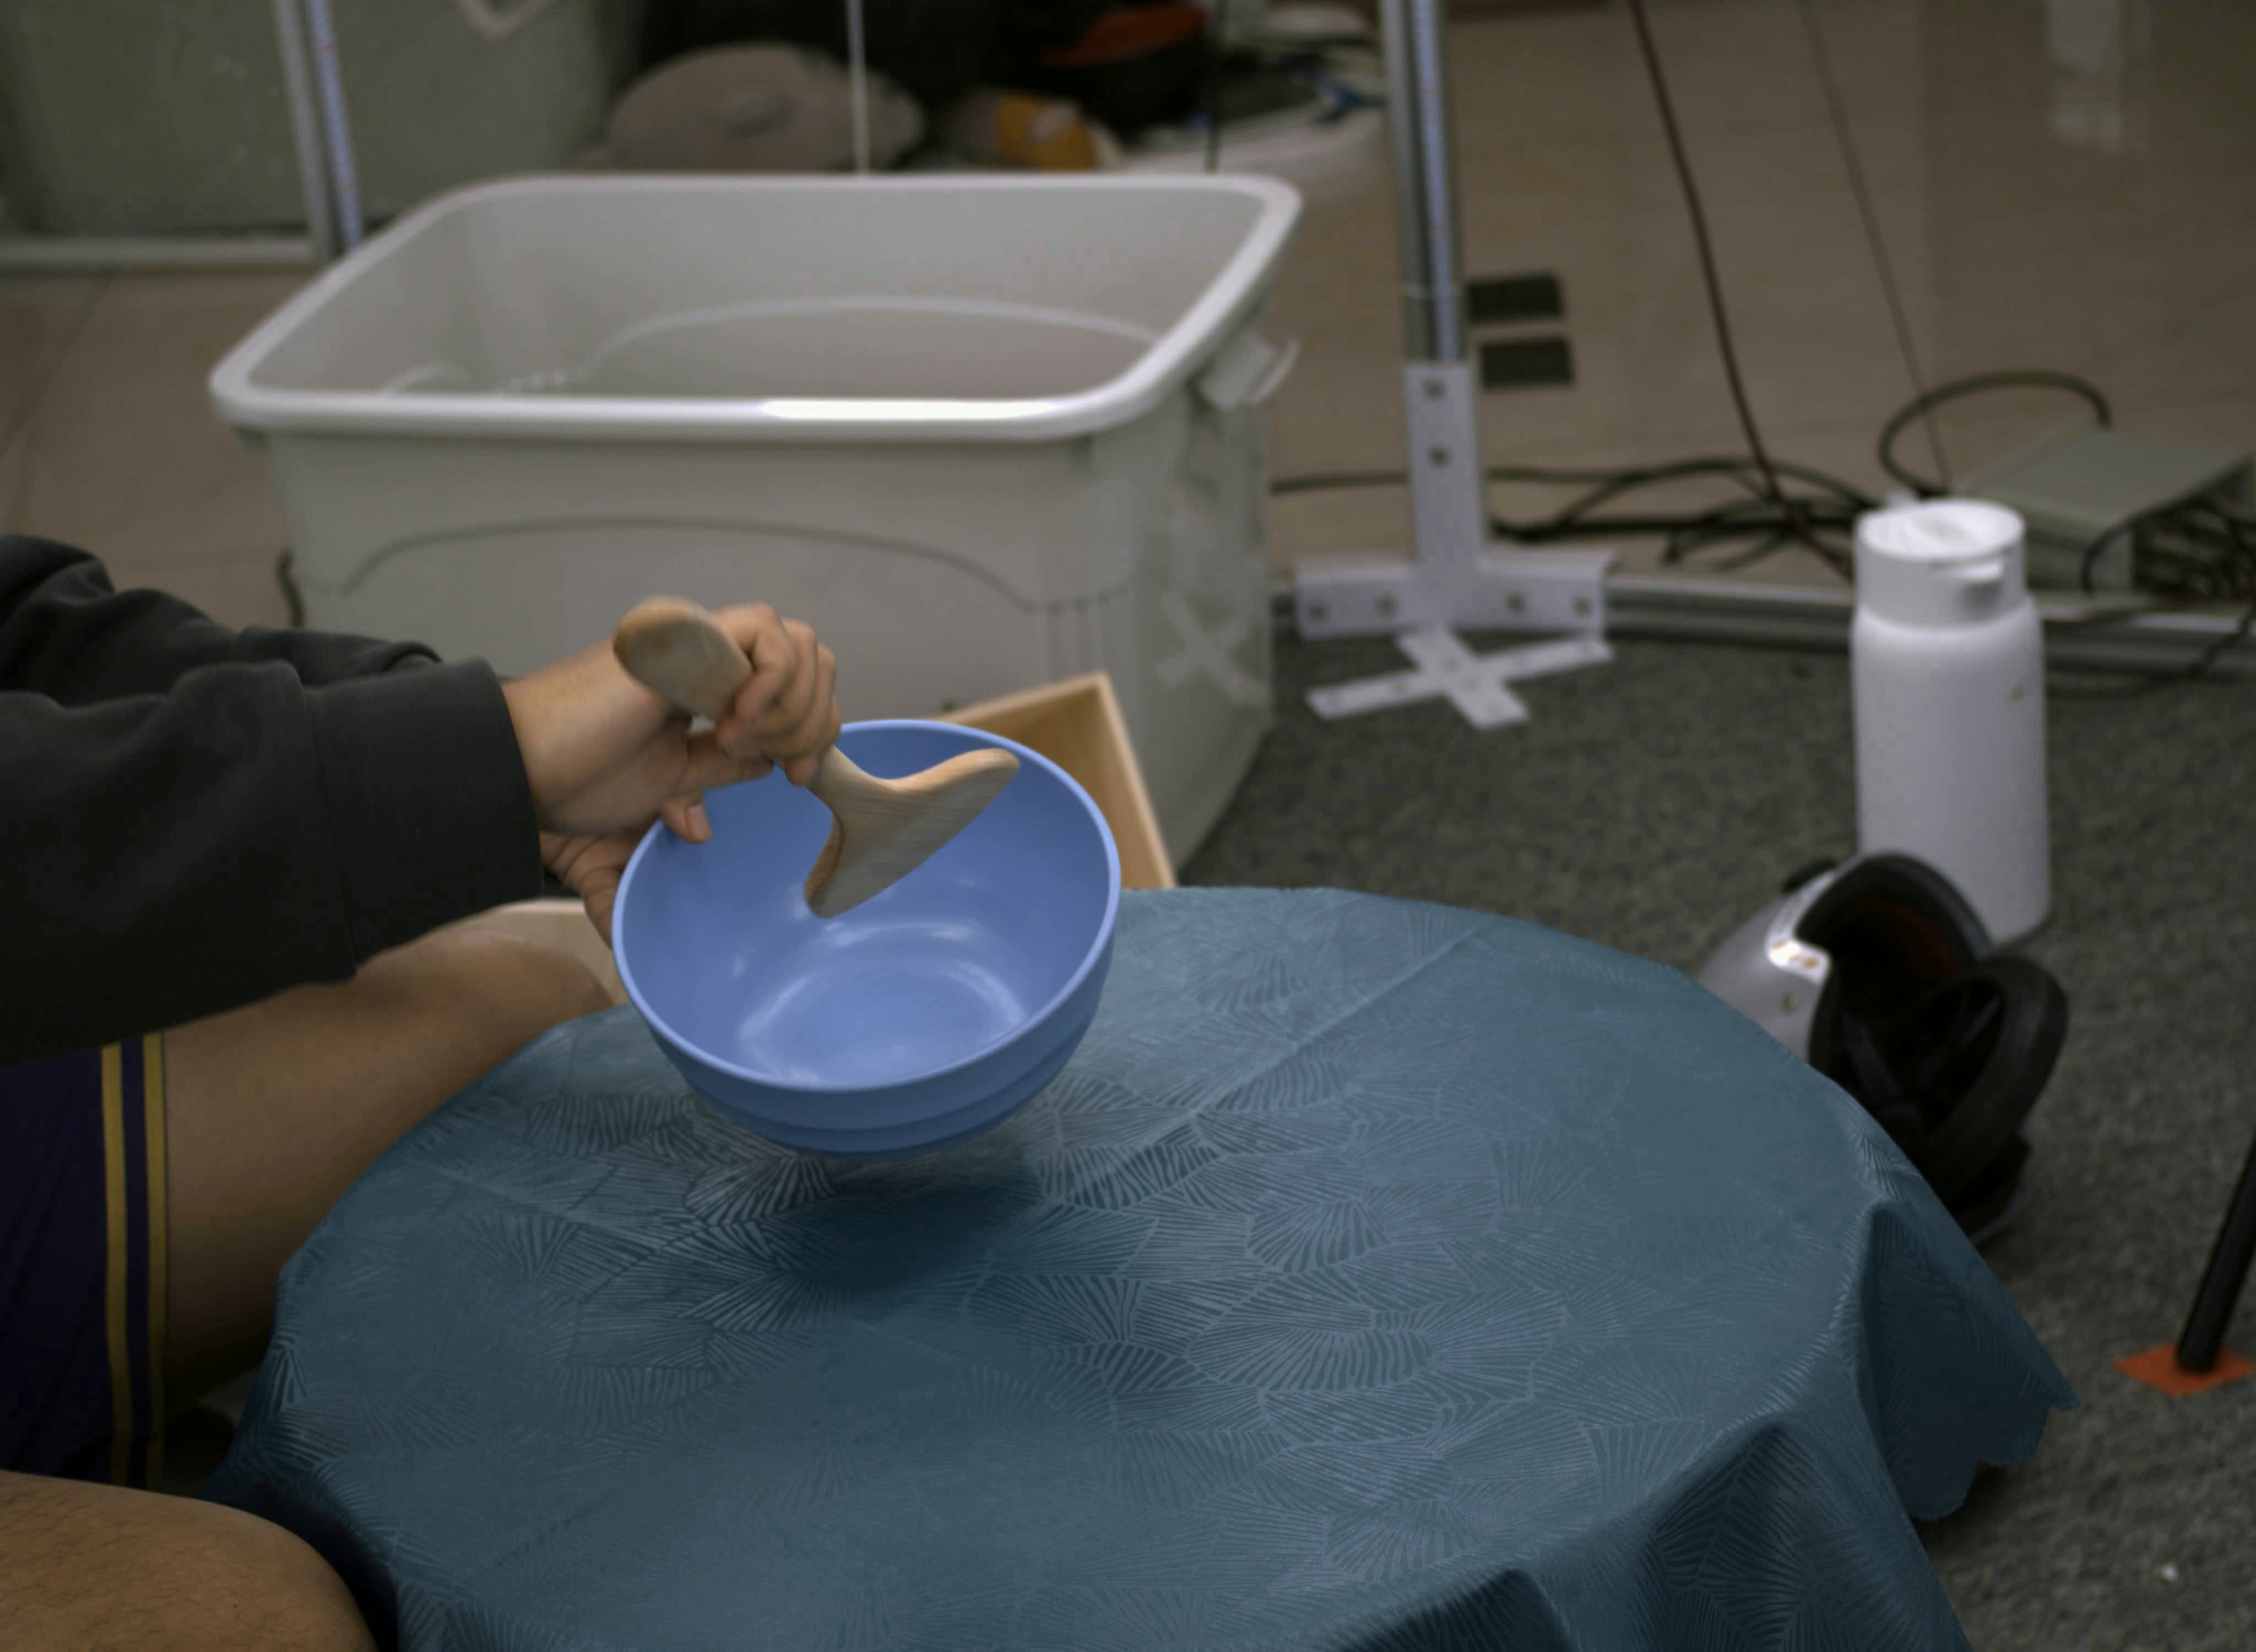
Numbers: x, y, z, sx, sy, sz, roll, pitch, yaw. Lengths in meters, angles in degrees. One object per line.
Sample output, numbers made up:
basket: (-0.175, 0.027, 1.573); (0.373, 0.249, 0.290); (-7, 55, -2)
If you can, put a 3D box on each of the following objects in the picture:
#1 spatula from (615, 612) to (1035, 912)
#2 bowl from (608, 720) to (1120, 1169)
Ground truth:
spatula: (-0.106, -0.028, 1.930); (0.096, 0.393, 0.018); (-39, 73, 3)
bowl: (-0.097, 0.062, 2.187); (0.196, 0.097, 0.193); (-3, 47, 4)
